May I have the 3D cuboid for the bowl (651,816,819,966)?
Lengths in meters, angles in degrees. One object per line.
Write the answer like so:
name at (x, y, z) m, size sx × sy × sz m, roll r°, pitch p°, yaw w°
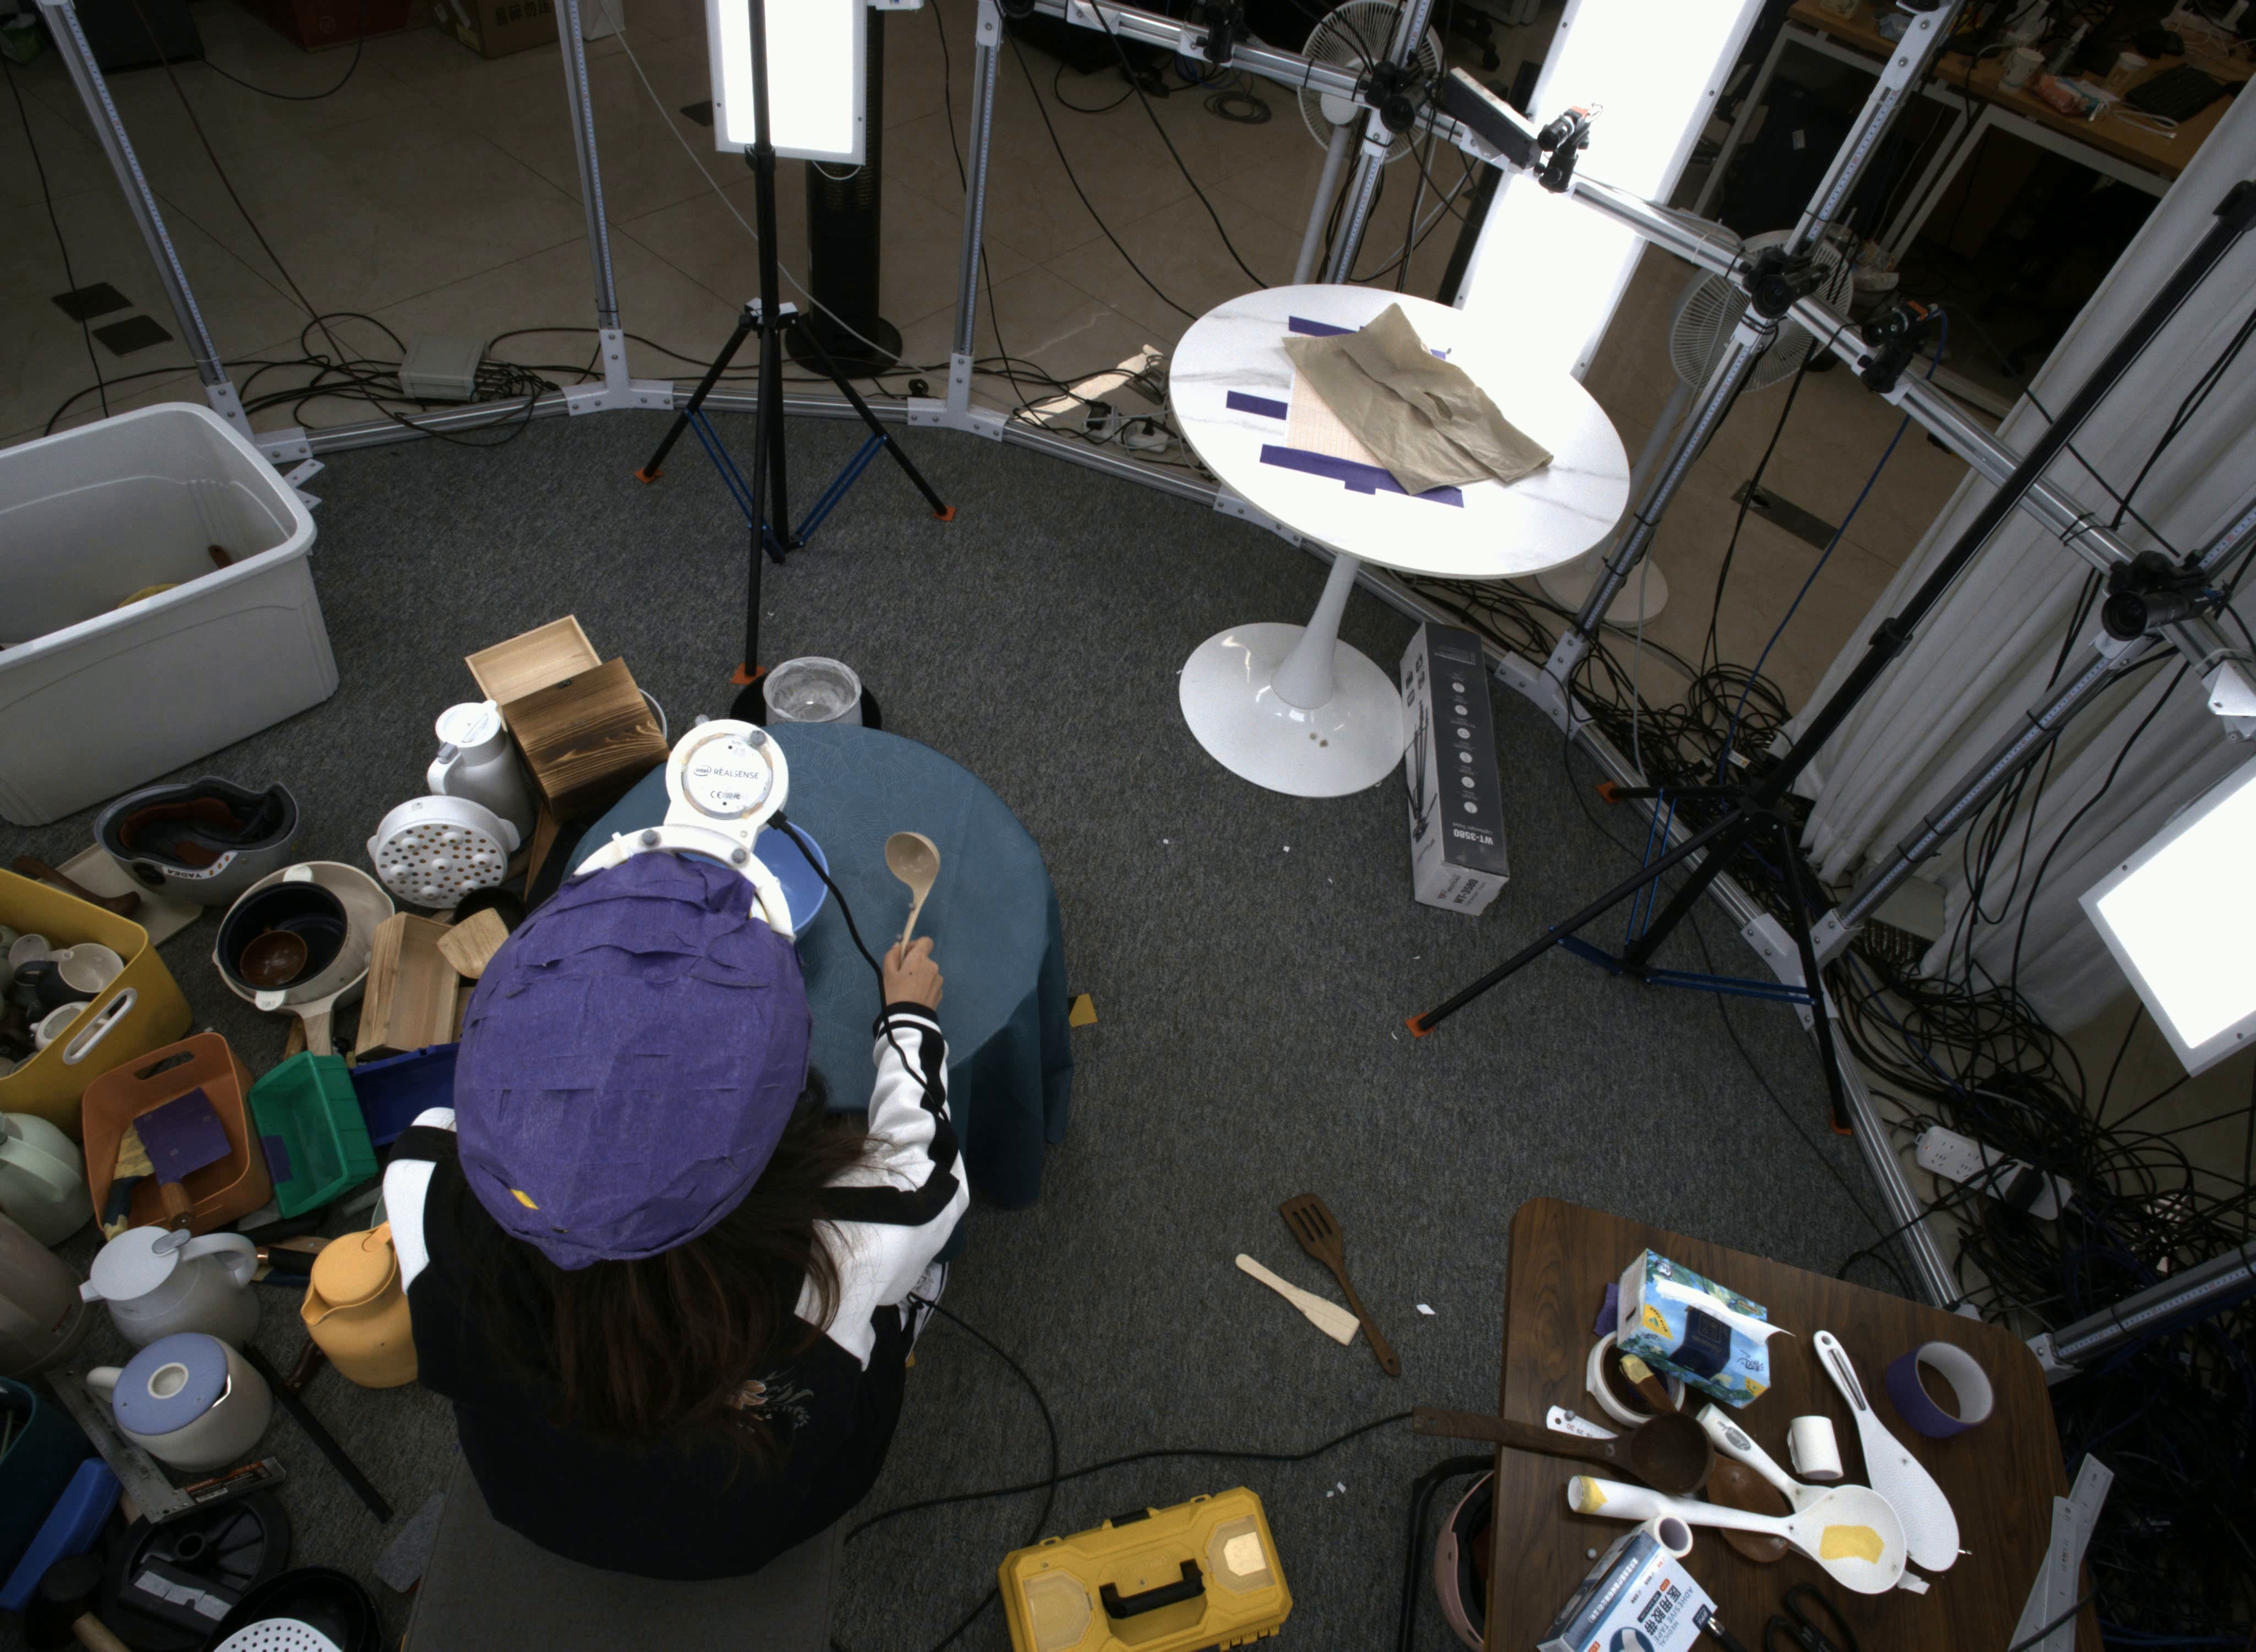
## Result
bowl at (-0.477, 0.093, 1.578) m, size 0.196 × 0.097 × 0.193 m, roll 9°, pitch 52°, yaw -10°

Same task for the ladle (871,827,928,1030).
ladle at (-0.291, 0.113, 1.549) m, size 0.070 × 0.075 × 0.250 m, roll -17°, pitch 48°, yaw 27°
